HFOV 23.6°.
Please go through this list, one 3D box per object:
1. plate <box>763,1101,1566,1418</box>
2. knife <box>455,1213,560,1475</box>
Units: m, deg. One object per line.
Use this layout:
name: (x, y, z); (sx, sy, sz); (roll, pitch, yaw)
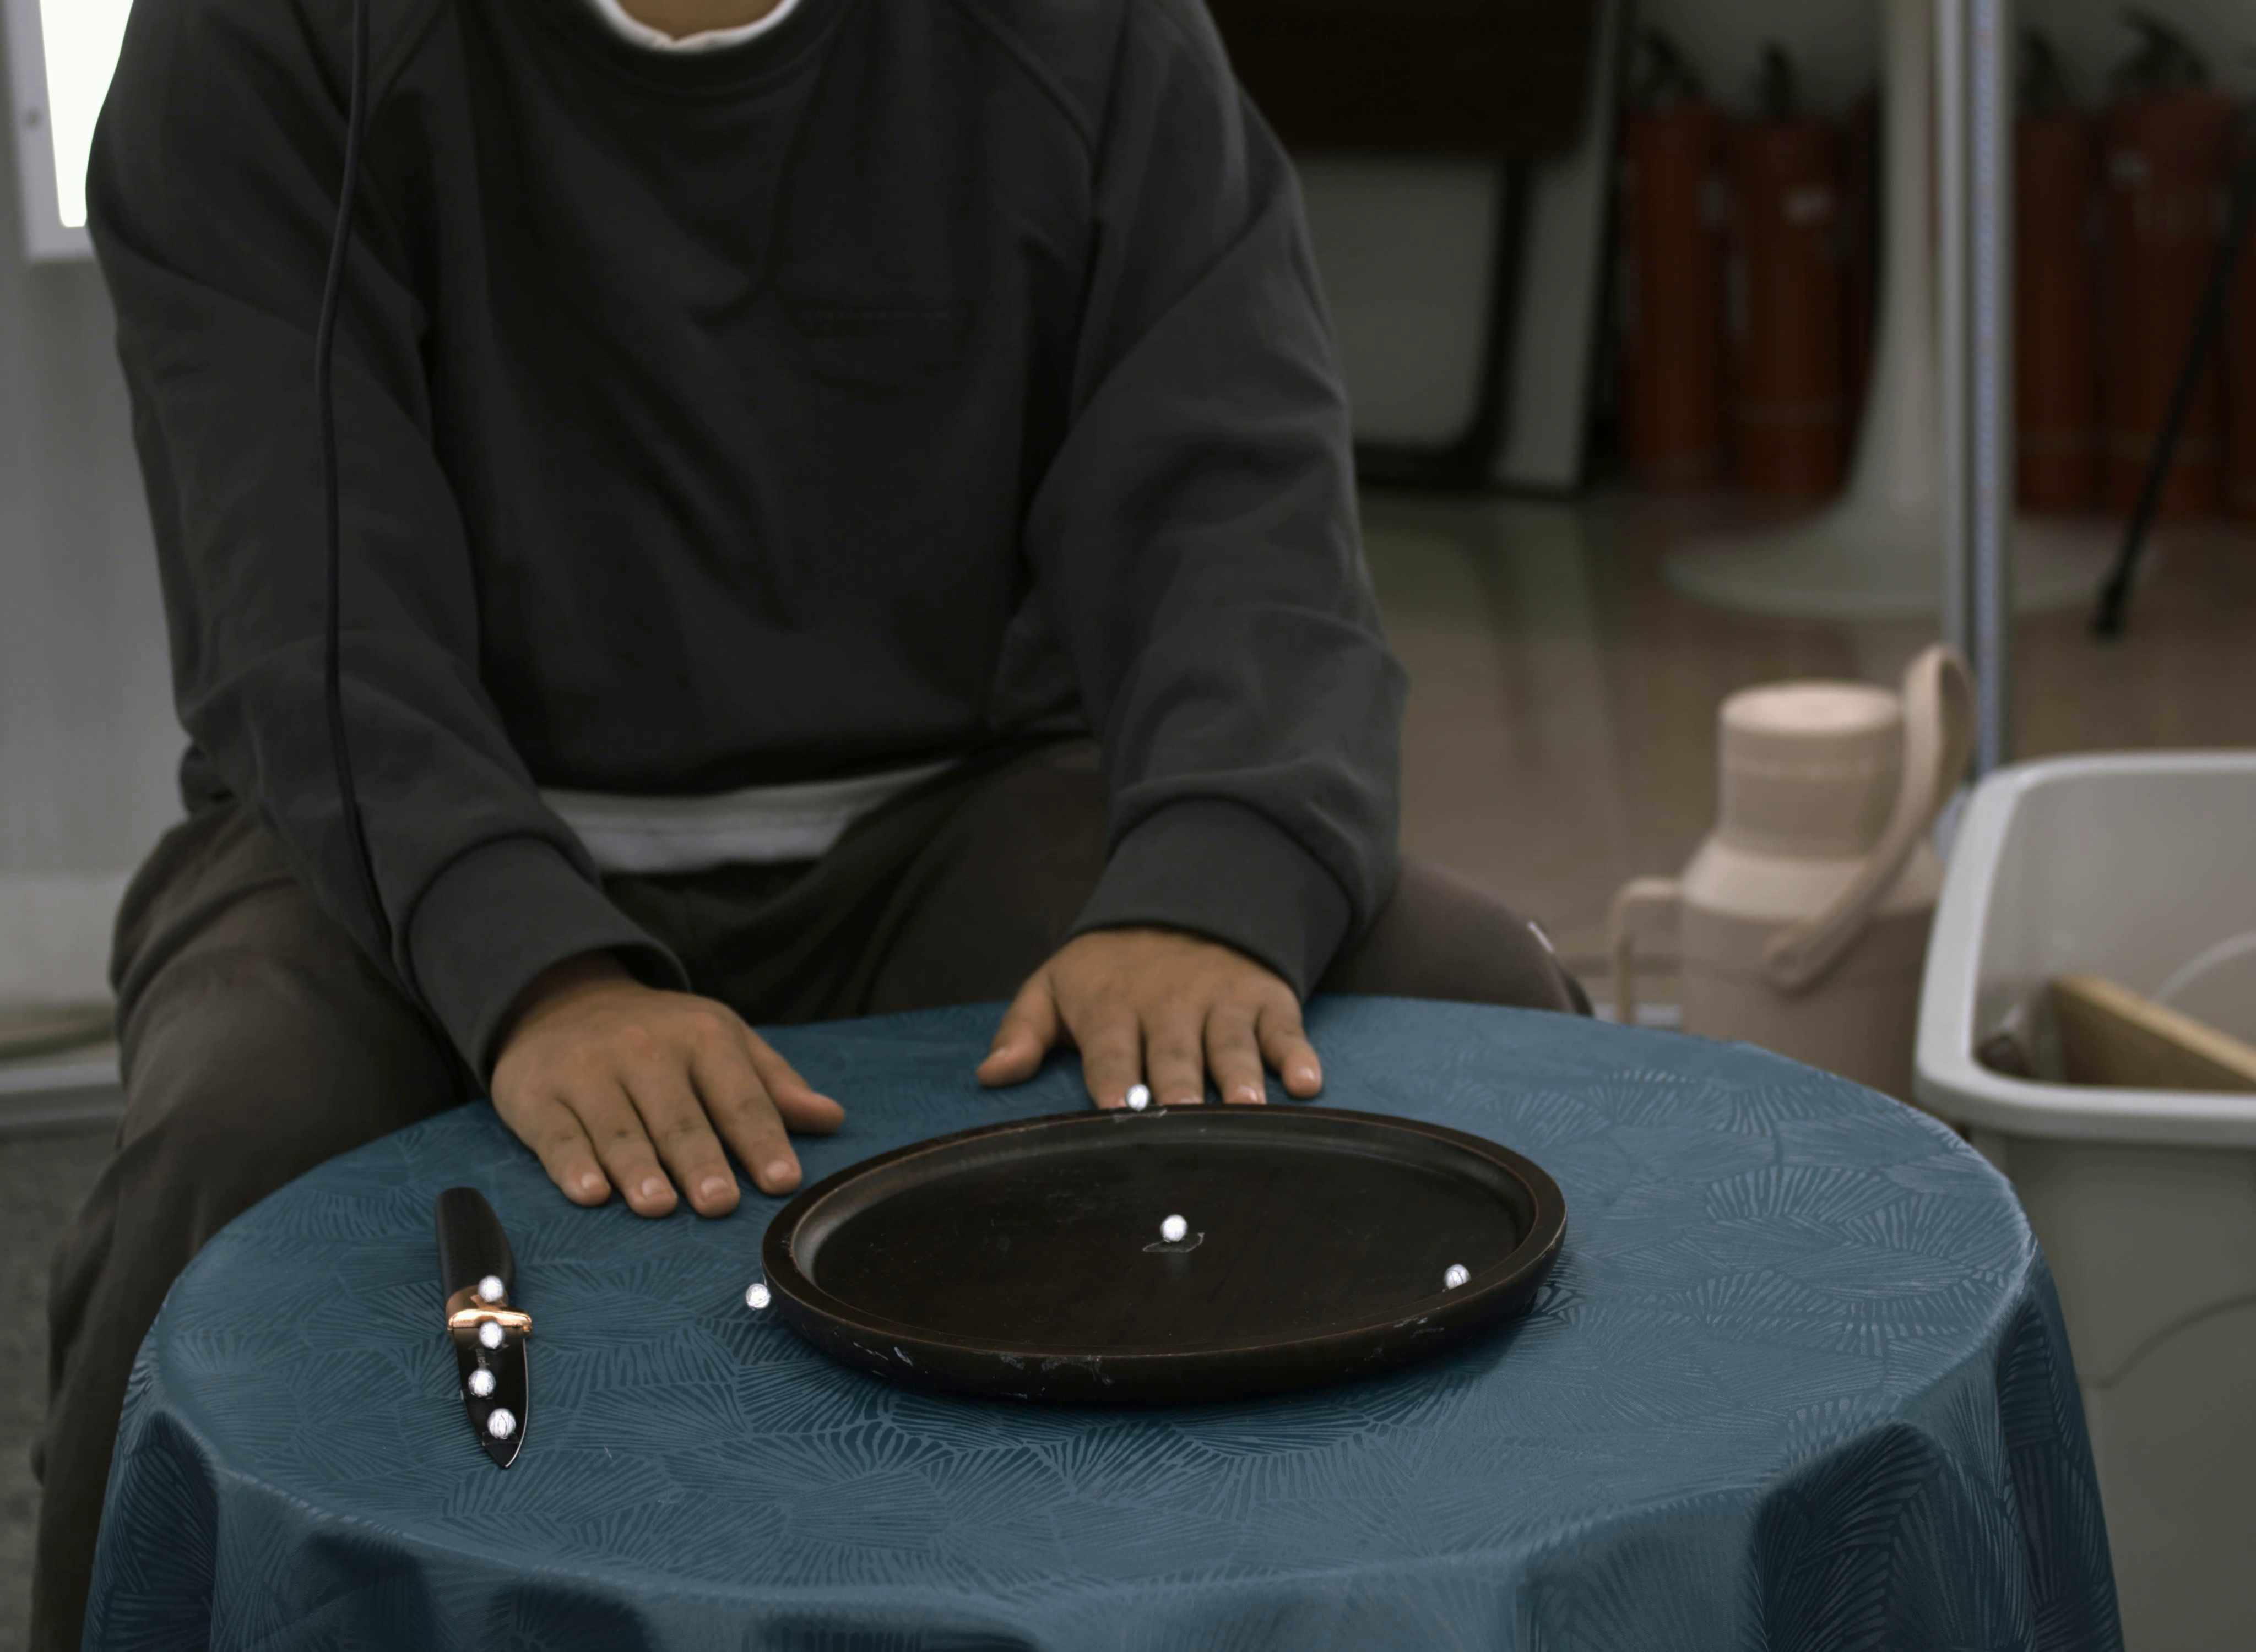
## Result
plate: (0.012, 0.133, 1.677); (0.251, 0.029, 0.255); (-5, 13, 0)
knife: (-0.190, 0.158, 1.658); (0.026, 0.017, 0.227); (0, 14, -9)
